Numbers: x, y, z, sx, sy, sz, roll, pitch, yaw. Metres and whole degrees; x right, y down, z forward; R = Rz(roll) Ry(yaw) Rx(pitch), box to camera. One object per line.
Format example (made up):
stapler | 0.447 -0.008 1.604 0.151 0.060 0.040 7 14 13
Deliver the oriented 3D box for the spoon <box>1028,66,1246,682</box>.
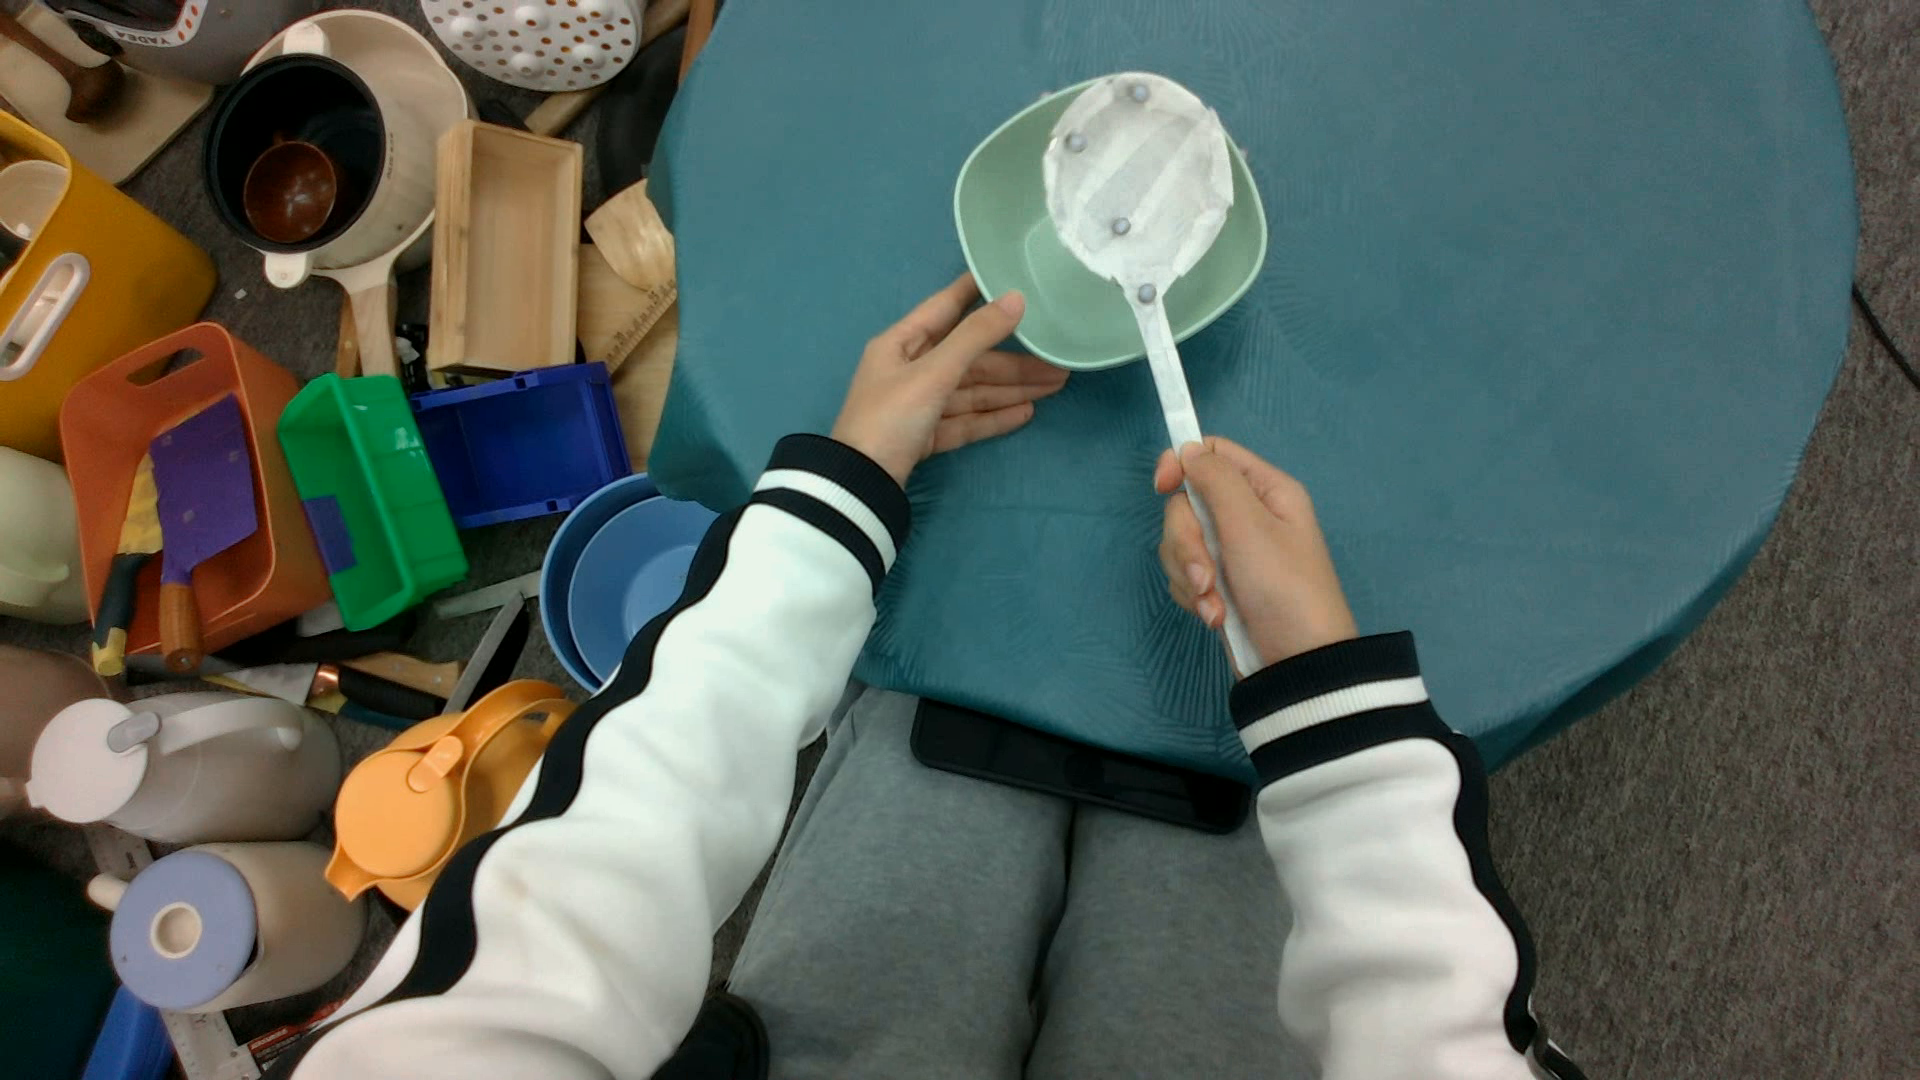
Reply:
spoon | 0.090 -0.078 0.589 0.101 0.059 0.278 -1 64 -19

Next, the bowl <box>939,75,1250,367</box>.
bowl | 0.066 -0.149 0.685 0.151 0.058 0.151 -1 78 5
